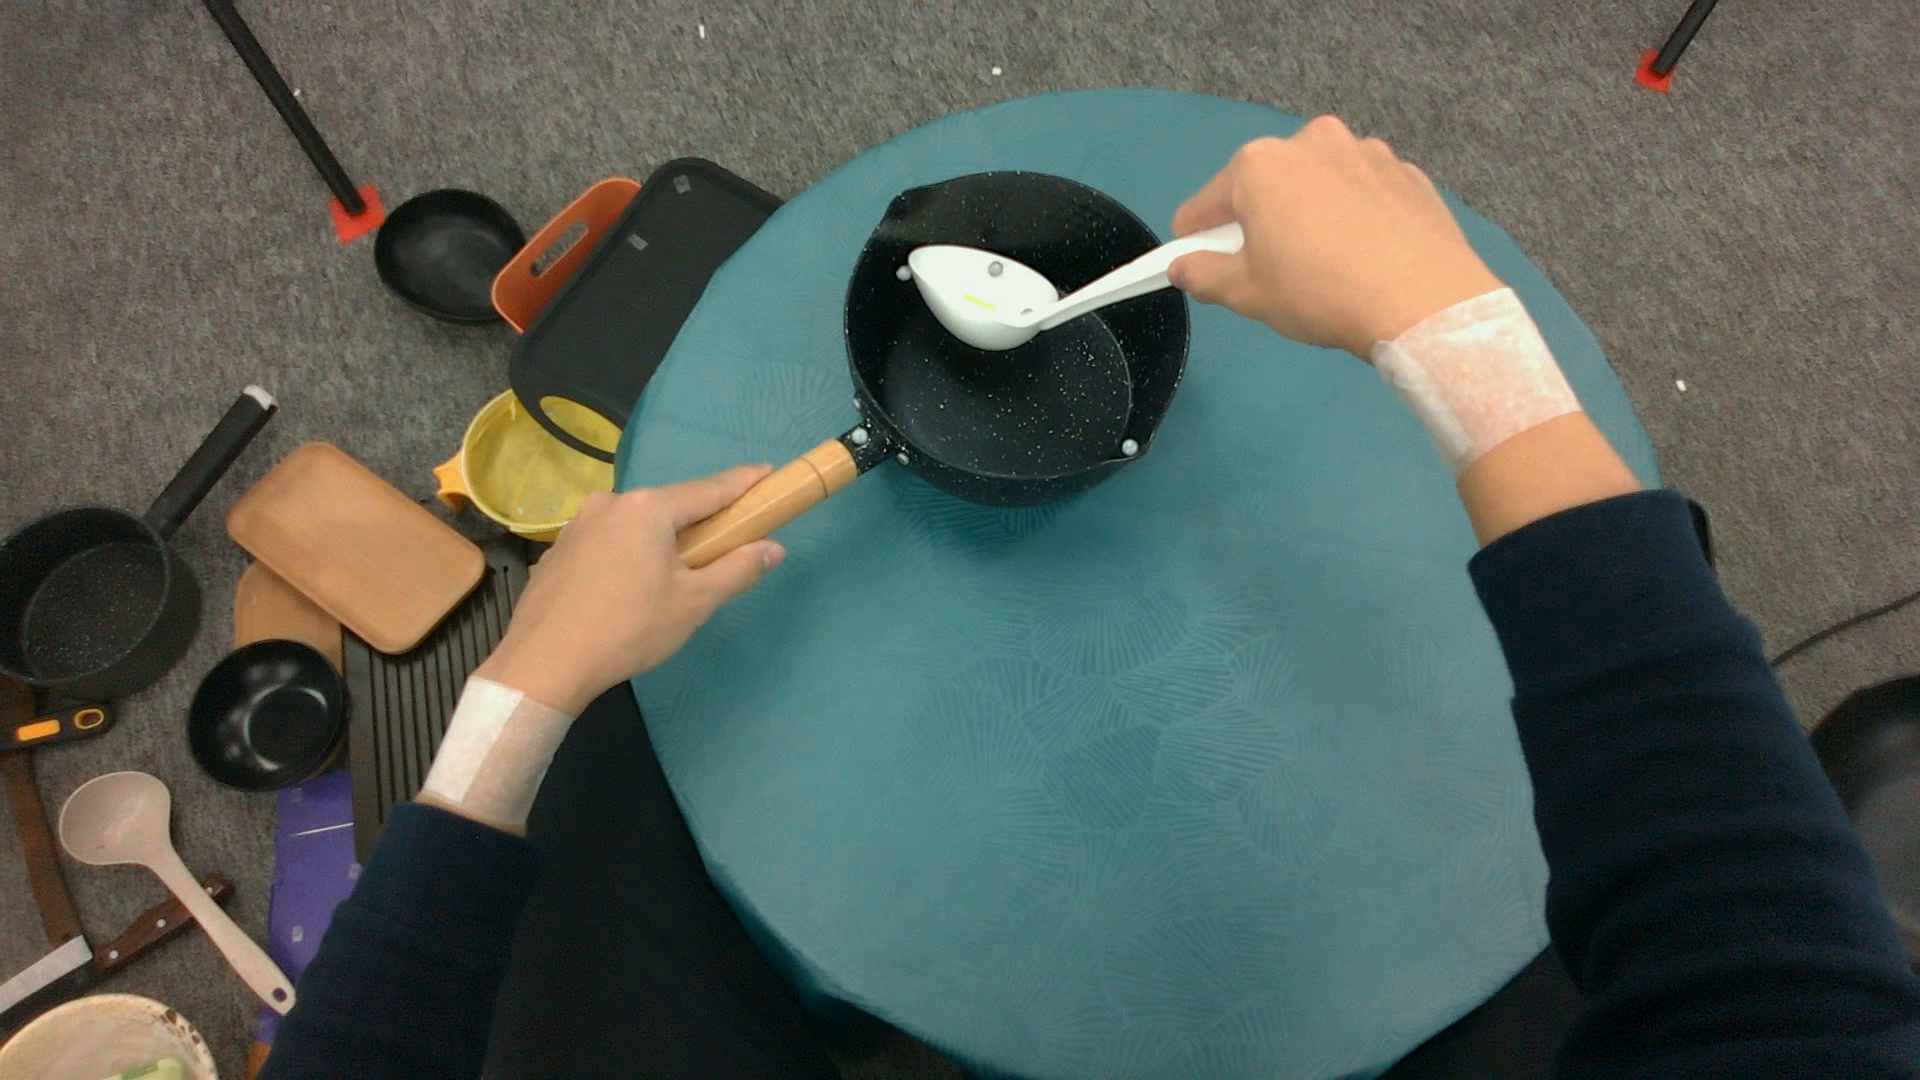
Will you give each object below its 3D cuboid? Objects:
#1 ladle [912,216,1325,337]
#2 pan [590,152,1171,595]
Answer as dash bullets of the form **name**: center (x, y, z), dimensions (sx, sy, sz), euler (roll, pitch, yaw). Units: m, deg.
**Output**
- **ladle**: center (0.068, -0.140, 0.678), dimensions (0.090, 0.292, 0.070), euler (13, 87, -29)
- **pan**: center (-0.041, -0.067, 0.731), dimensions (0.344, 0.108, 0.207), euler (-39, 77, -17)
